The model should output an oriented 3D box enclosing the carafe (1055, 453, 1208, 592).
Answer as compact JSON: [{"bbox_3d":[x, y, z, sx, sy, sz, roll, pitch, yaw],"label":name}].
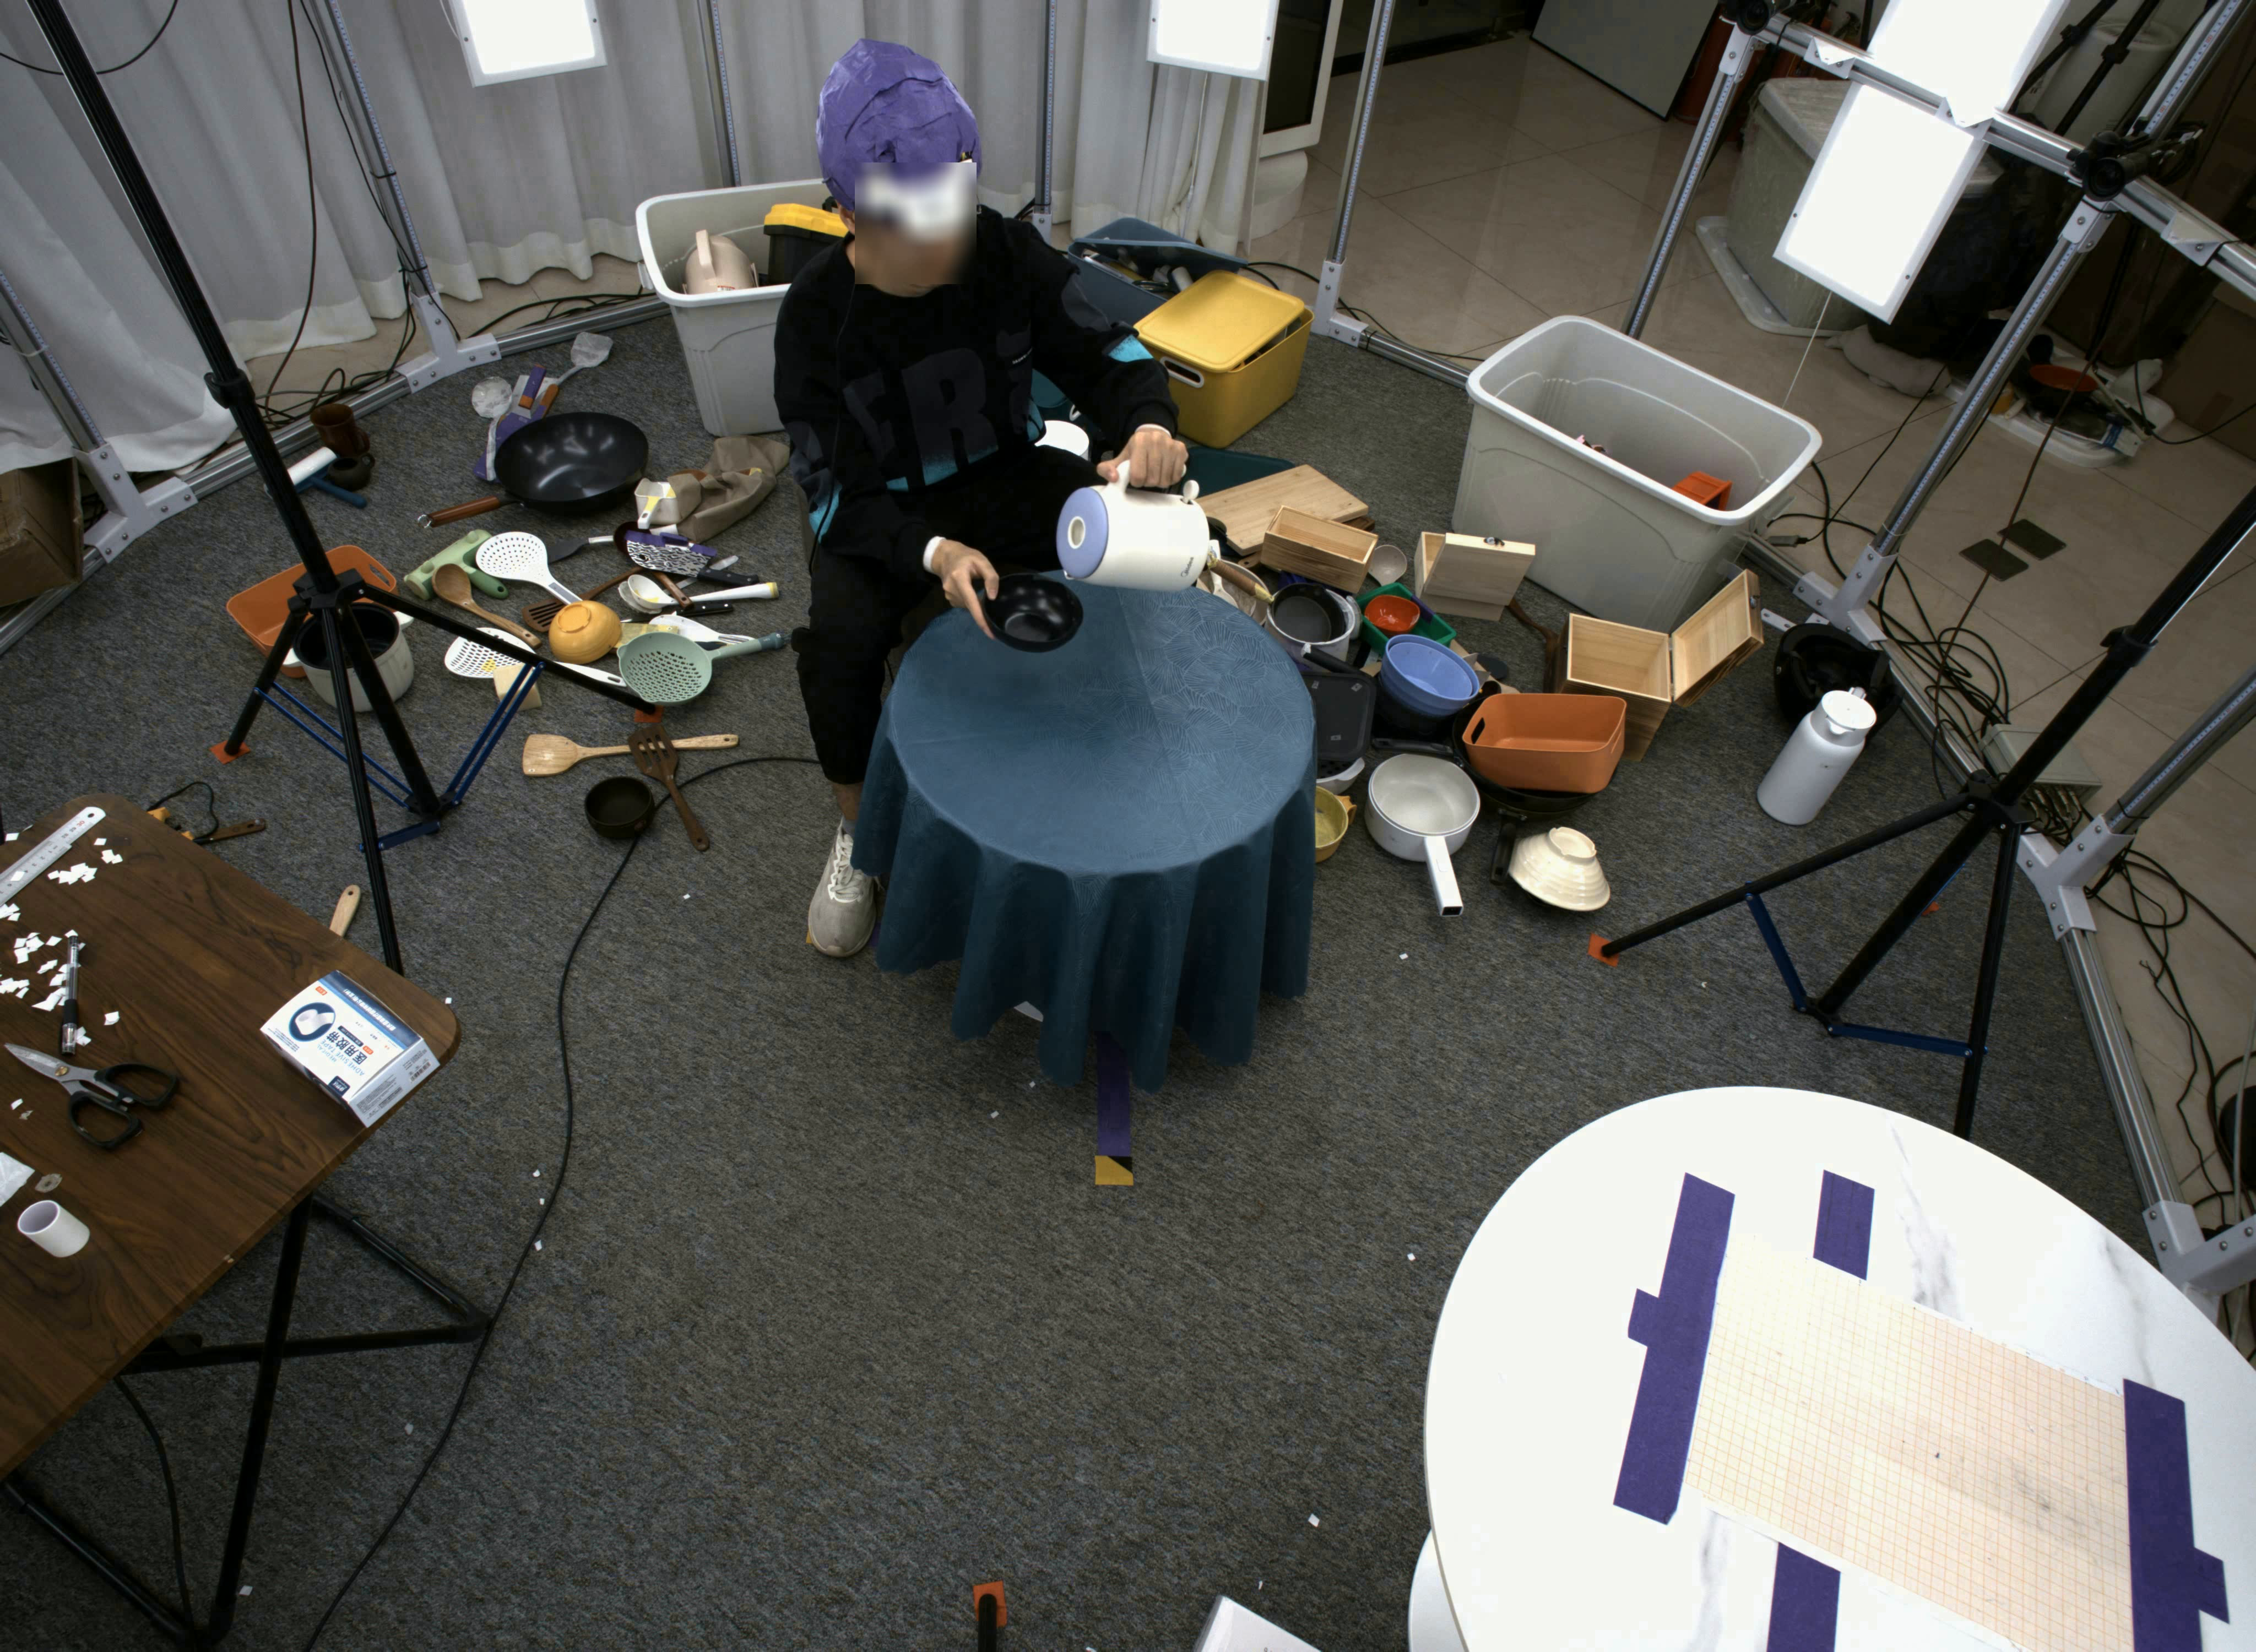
[{"bbox_3d":[0.014,-0.406,1.719,0.181,0.188,0.135,1,37,-37],"label":"carafe"}]

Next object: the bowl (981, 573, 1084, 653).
[{"bbox_3d":[-0.132,-0.283,1.761,0.140,0.048,0.143,5,48,-6],"label":"bowl"}]
